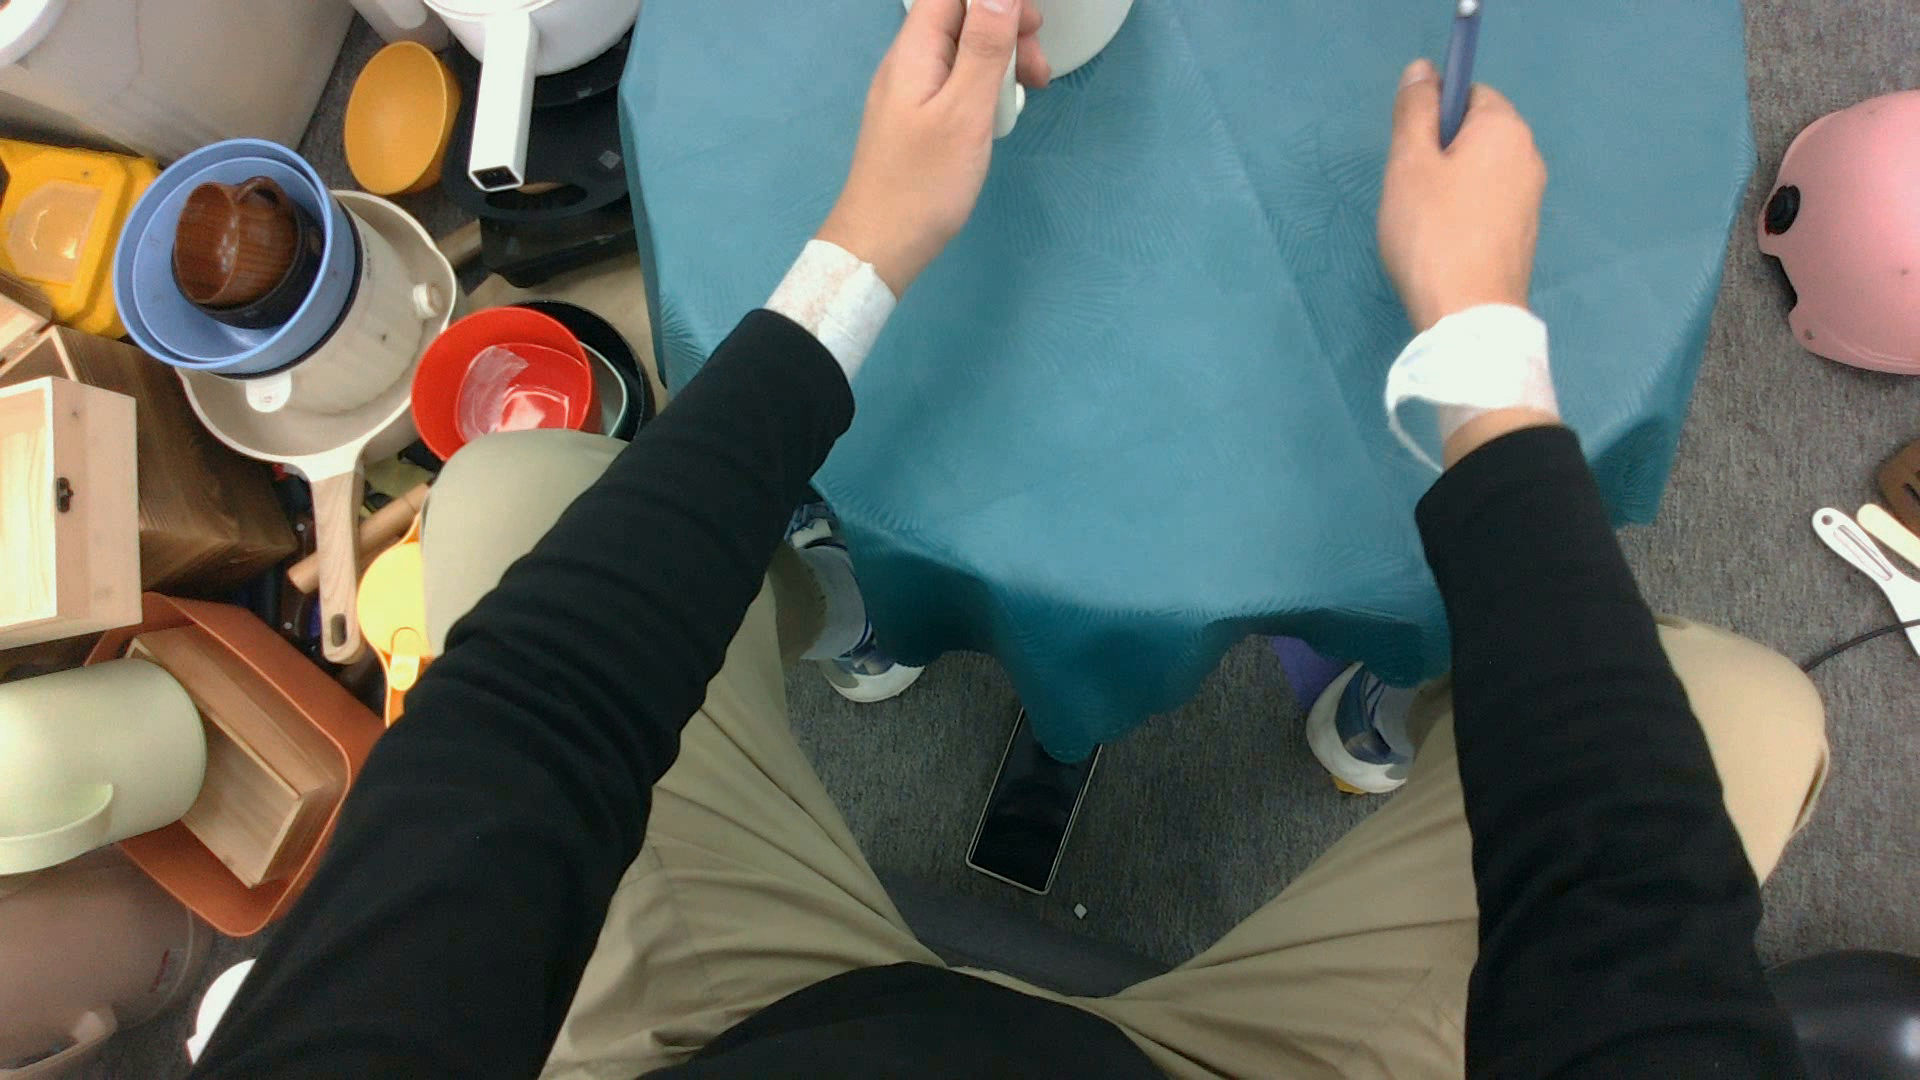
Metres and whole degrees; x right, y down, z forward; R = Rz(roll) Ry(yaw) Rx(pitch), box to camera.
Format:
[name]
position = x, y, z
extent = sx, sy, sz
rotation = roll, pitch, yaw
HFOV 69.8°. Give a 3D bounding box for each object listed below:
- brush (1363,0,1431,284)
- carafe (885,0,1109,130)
[brush]
position = 0.213, -0.256, 0.621
extent = 0.095, 0.033, 0.272
rotation = -2, 105, 22
[carafe]
position = 0.016, -0.301, 0.671
extent = 0.132, 0.182, 0.191
rotation = 4, 82, 3
